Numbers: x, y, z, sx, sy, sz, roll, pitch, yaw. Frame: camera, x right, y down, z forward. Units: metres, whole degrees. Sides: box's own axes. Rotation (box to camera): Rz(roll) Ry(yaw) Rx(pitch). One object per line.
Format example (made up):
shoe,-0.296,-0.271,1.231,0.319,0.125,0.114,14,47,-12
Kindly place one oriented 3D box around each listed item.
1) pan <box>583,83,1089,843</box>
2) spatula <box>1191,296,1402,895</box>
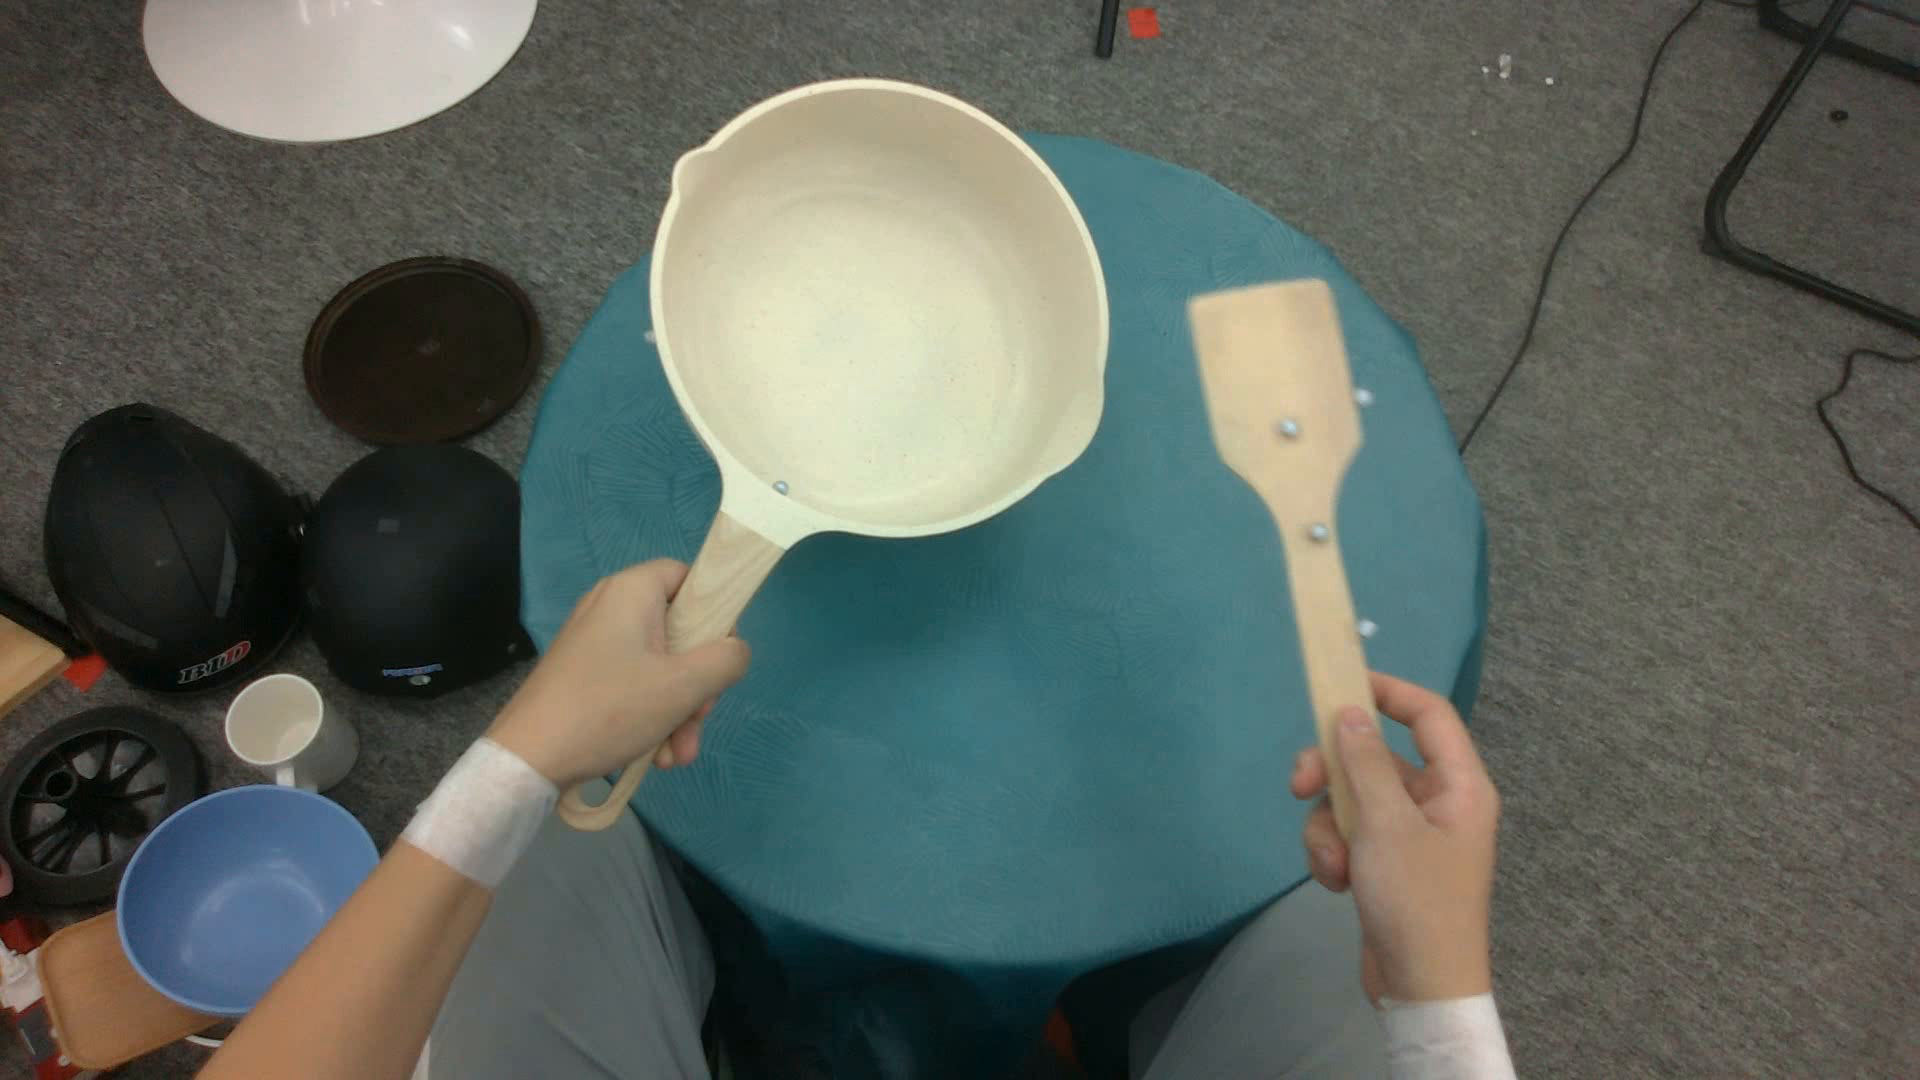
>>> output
pan,-0.094,-0.043,0.751,0.263,0.101,0.436,30,75,-13
spatula,0.170,0.020,0.661,0.072,0.010,0.293,-9,73,7
